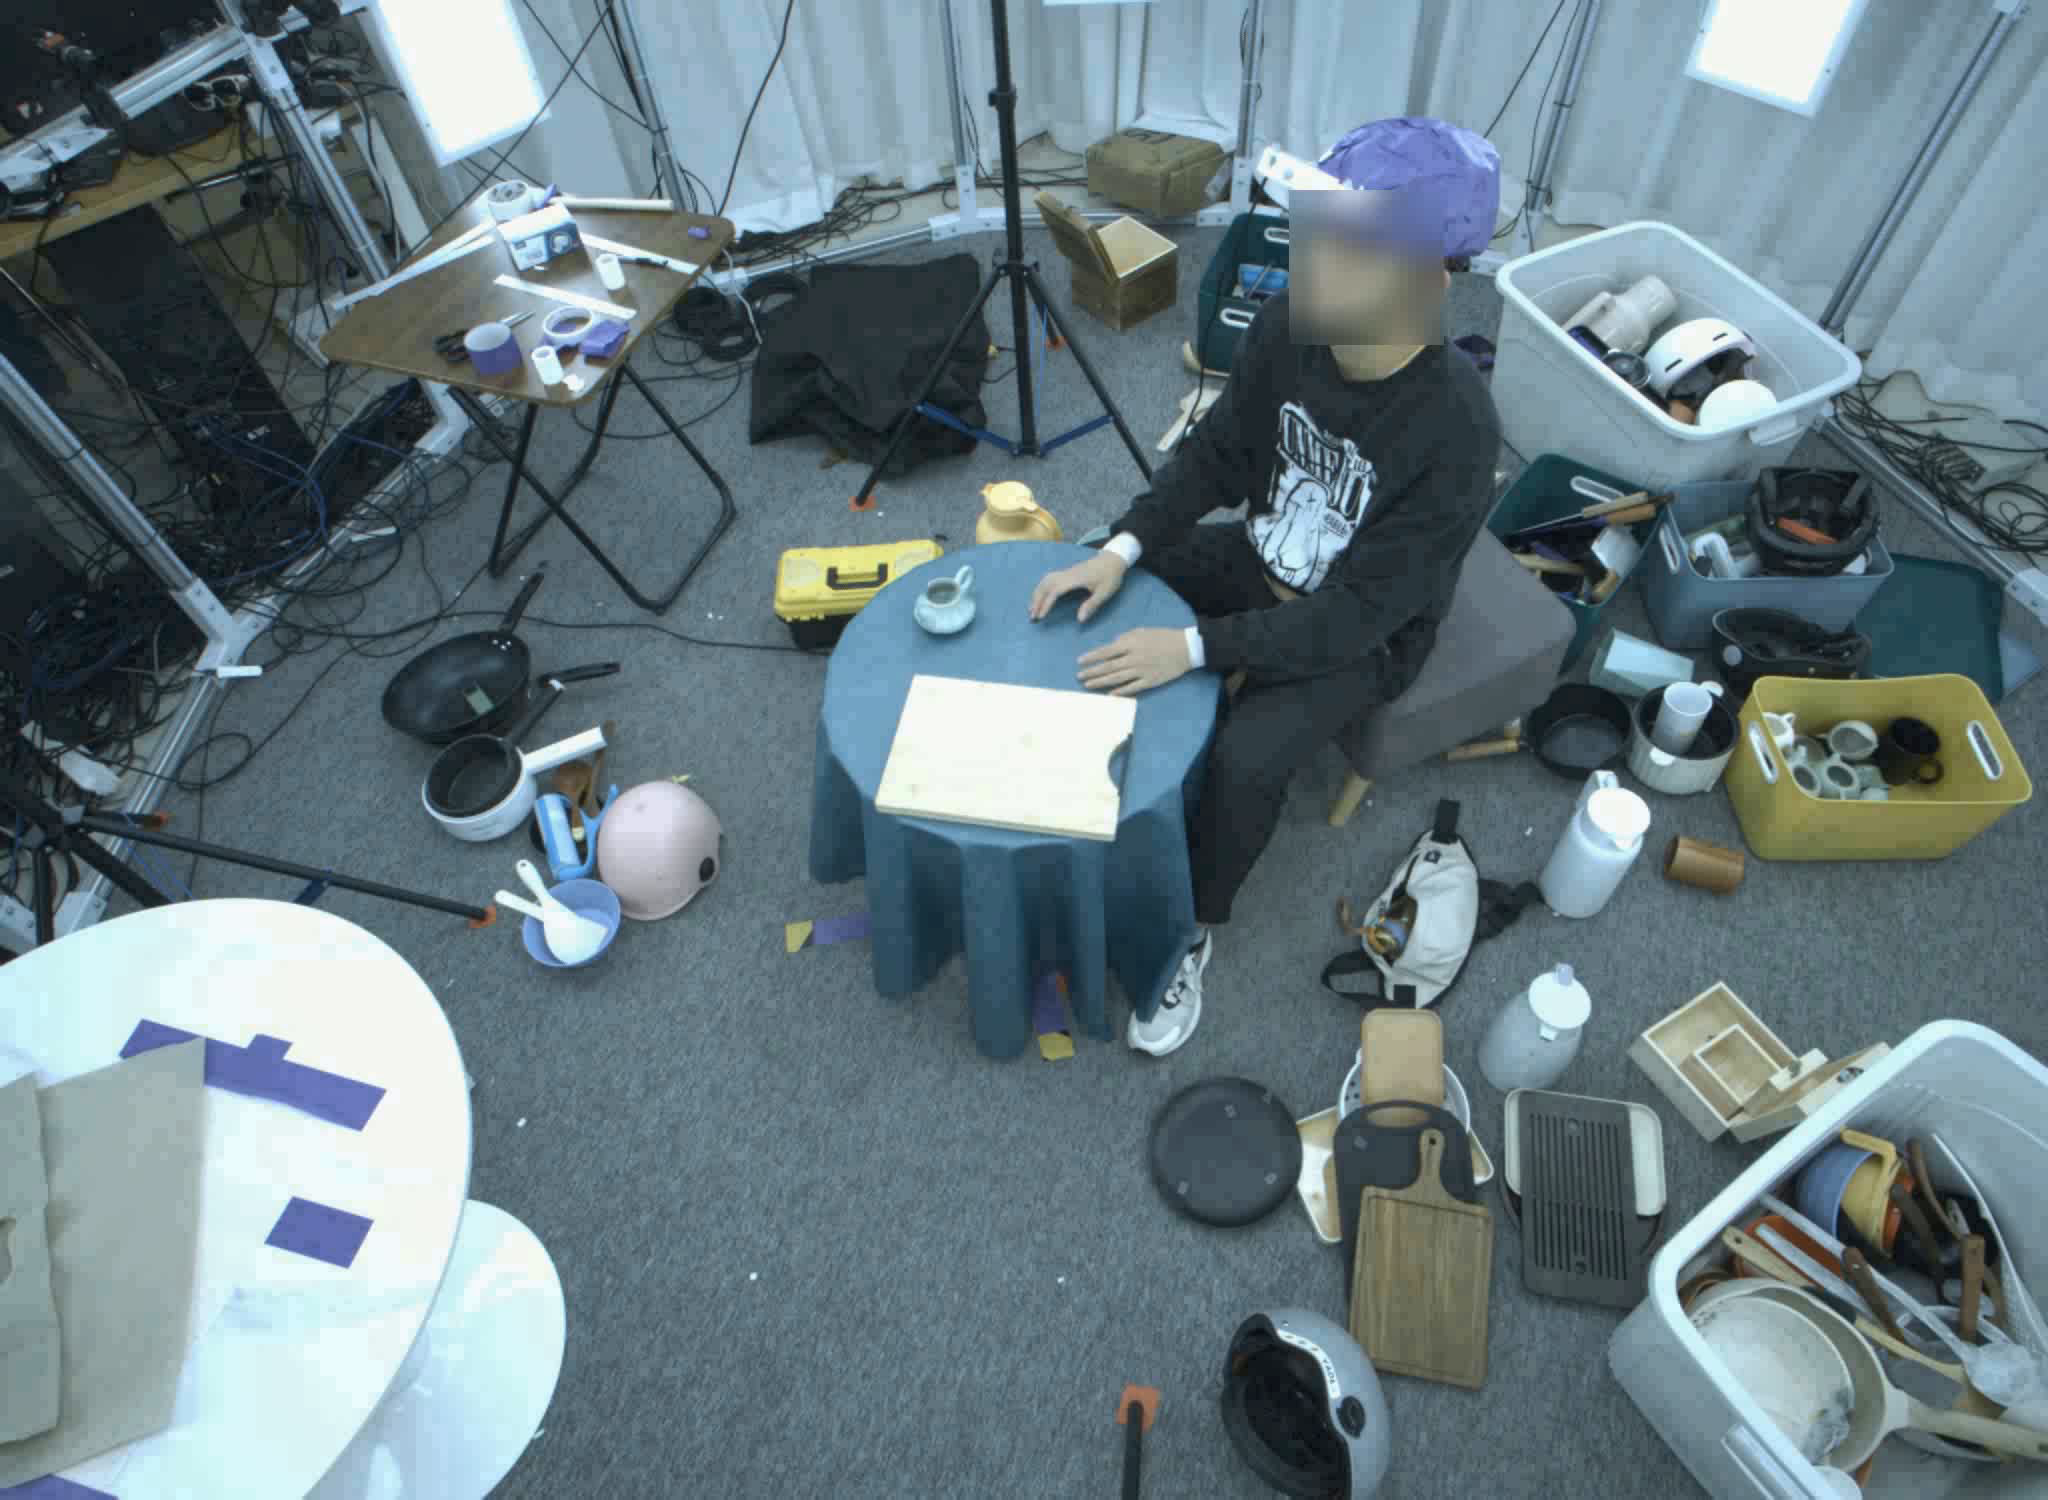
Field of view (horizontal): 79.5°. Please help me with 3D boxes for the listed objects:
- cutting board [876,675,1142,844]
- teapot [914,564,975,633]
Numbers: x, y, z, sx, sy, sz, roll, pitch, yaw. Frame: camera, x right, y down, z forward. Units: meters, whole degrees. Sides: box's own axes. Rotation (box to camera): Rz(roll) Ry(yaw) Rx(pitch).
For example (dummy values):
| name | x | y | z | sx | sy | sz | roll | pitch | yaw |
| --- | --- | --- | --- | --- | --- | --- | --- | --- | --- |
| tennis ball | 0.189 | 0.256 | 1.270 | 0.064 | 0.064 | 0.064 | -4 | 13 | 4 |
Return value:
| name | x | y | z | sx | sy | sz | roll | pitch | yaw |
| --- | --- | --- | --- | --- | --- | --- | --- | --- | --- |
| cutting board | -0.016 | 0.007 | 1.769 | 0.347 | 0.024 | 0.249 | 6 | 55 | 6 |
| teapot | -0.124 | -0.232 | 1.916 | 0.095 | 0.062 | 0.137 | 25 | 59 | 21 |
